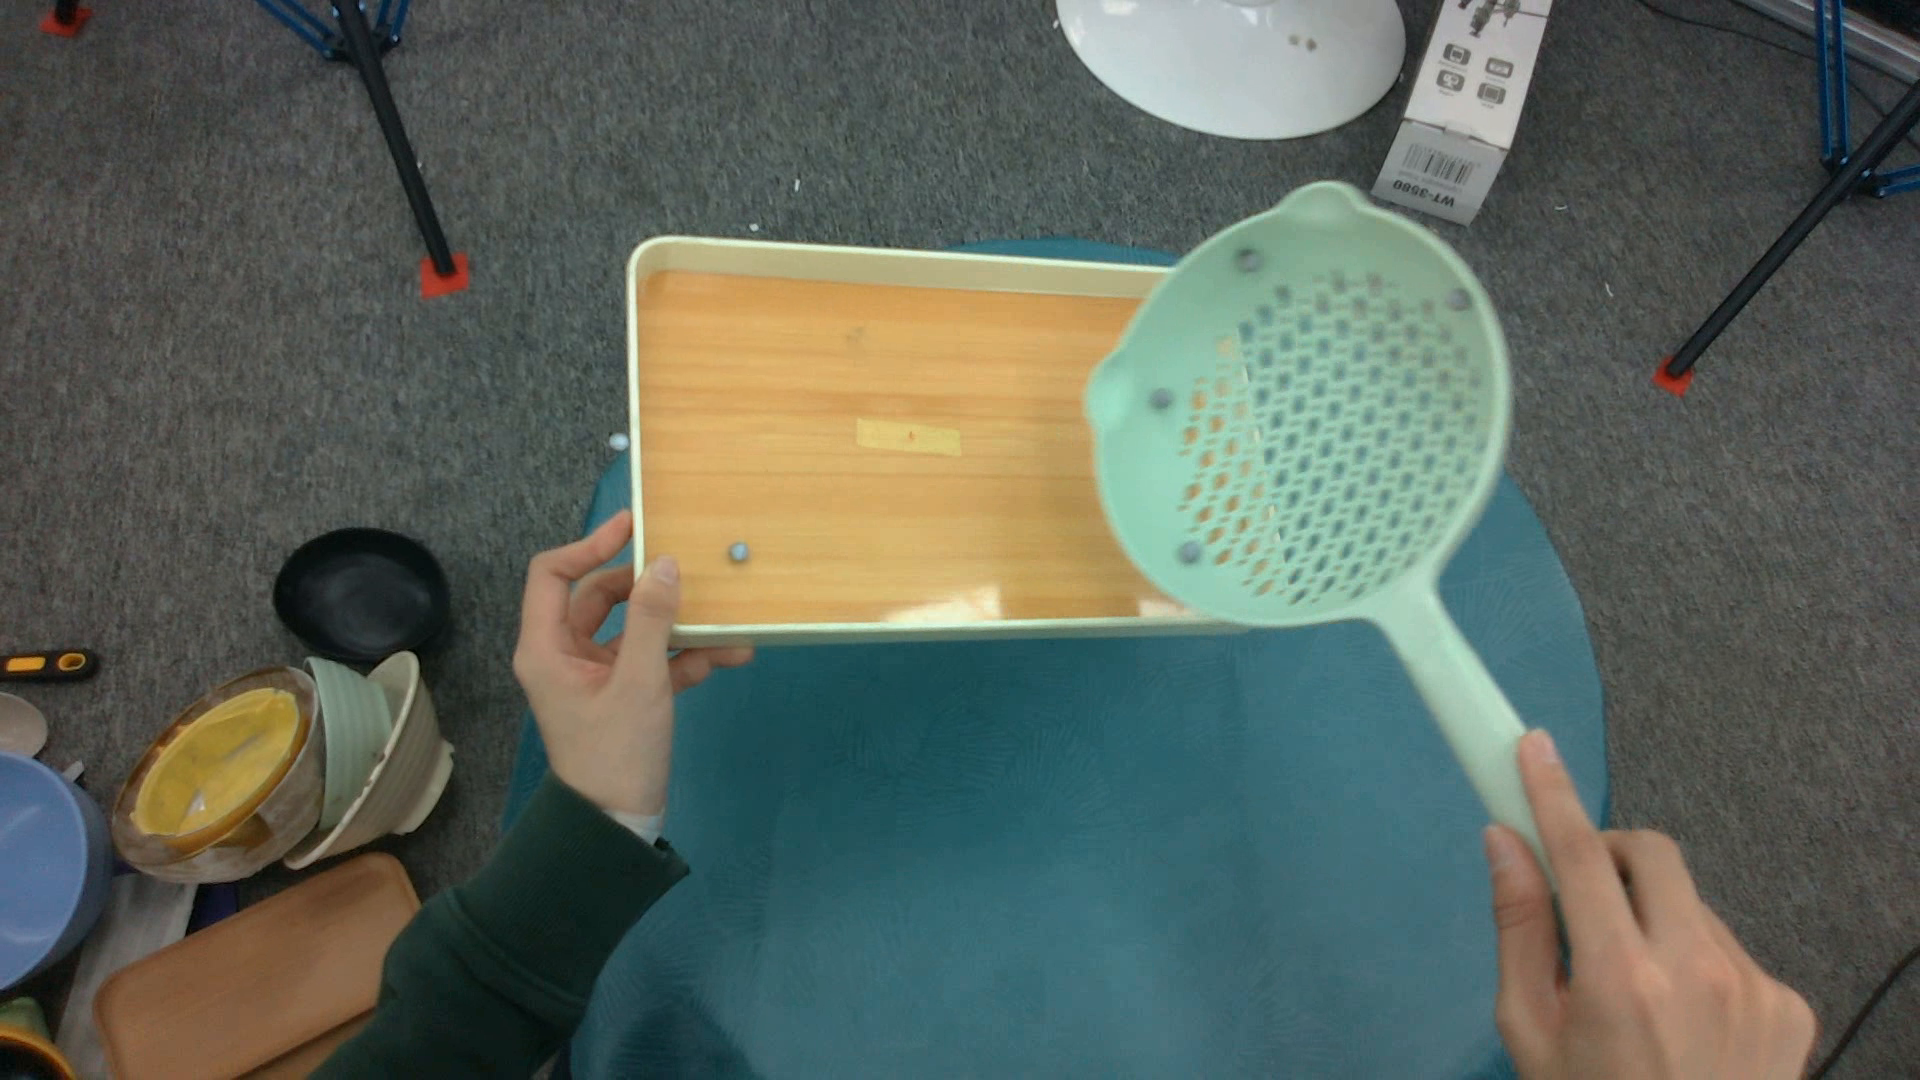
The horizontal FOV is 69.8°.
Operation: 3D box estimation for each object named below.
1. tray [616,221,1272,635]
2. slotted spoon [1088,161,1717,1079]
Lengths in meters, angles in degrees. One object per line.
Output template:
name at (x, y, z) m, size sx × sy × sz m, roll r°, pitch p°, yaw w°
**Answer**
tray at (-0.004, -0.052, 0.638) m, size 0.301 × 0.027 × 0.192 m, roll 0°, pitch 69°, yaw -17°
slotted spoon at (0.162, 0.024, 0.488) m, size 0.075 × 0.168 × 0.360 m, roll 26°, pitch 36°, yaw -42°
